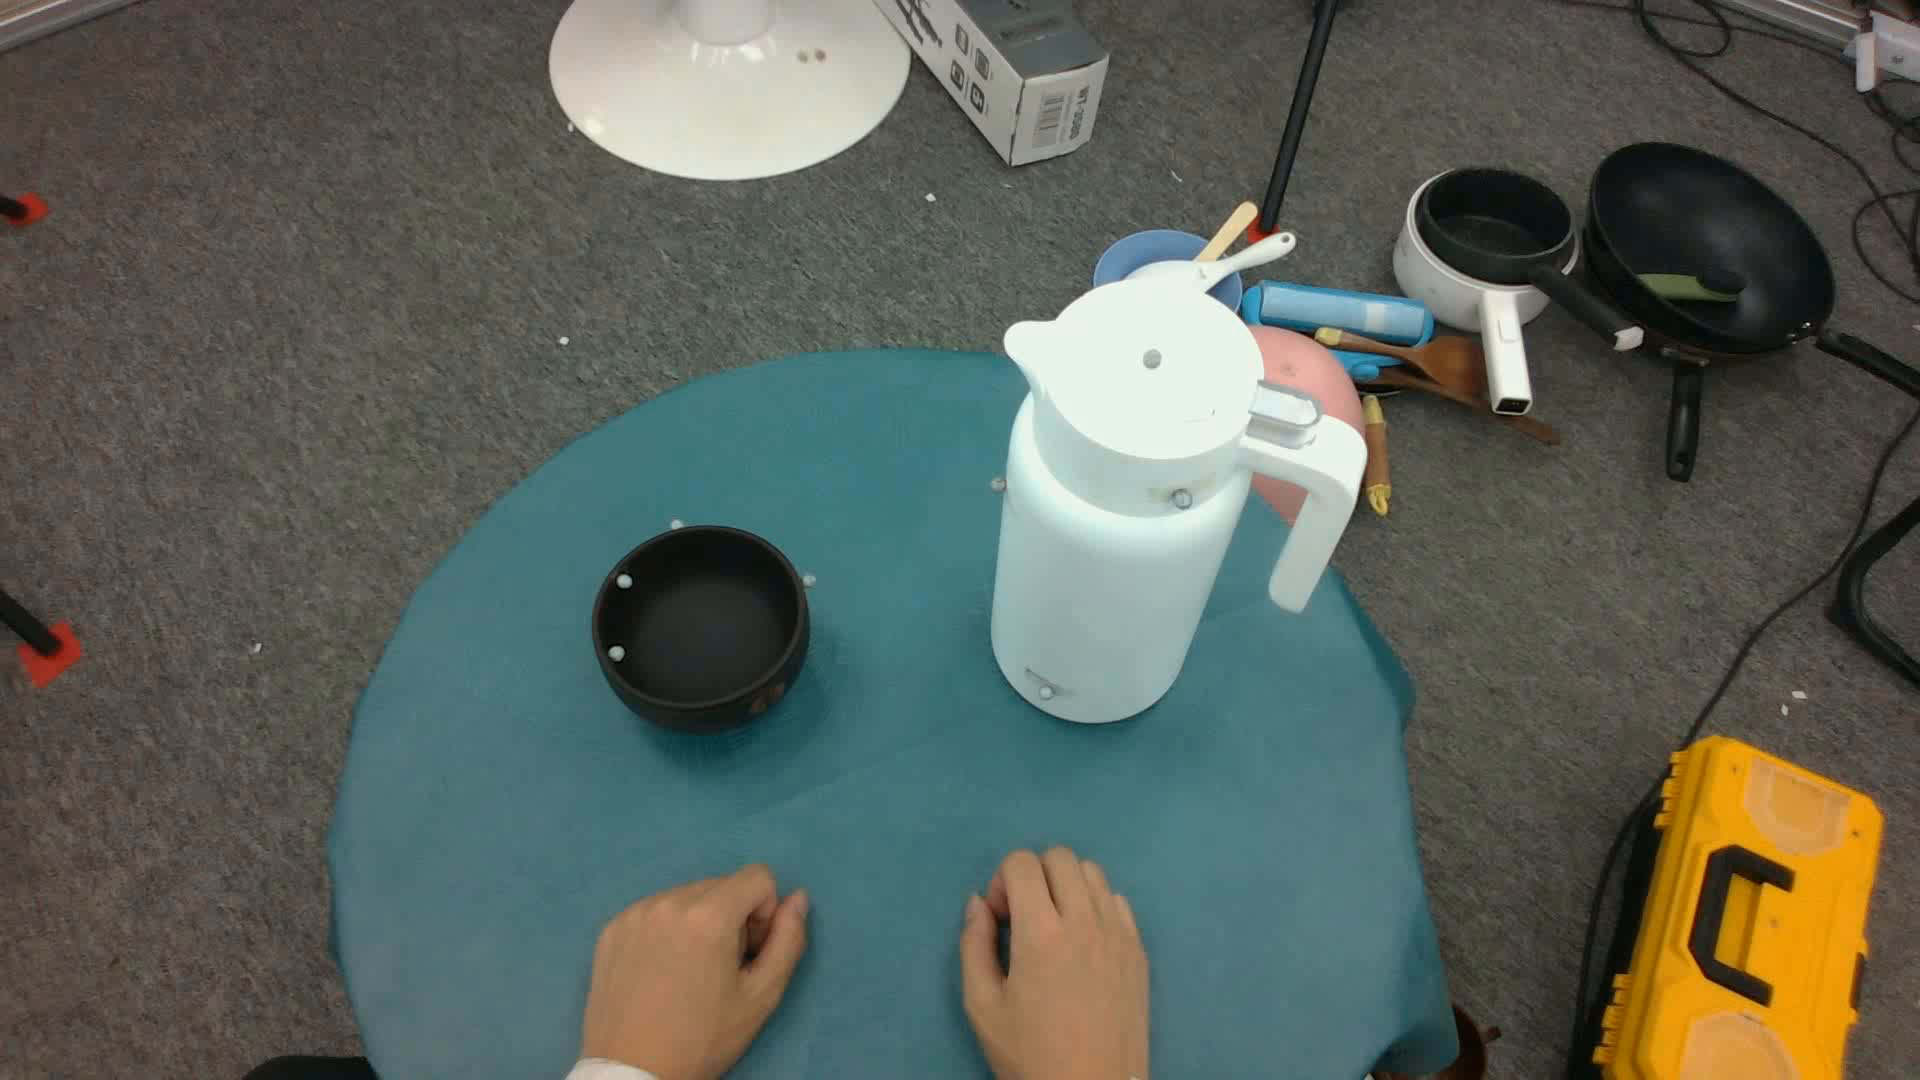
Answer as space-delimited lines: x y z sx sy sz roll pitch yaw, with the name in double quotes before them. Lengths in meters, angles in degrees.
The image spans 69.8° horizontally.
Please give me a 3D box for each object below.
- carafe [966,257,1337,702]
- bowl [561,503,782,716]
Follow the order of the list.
"carafe" 0.083 -0.016 0.711 0.173 0.267 0.124 17 58 7
"bowl" -0.158 0.045 0.771 0.118 0.069 0.118 2 59 -3
